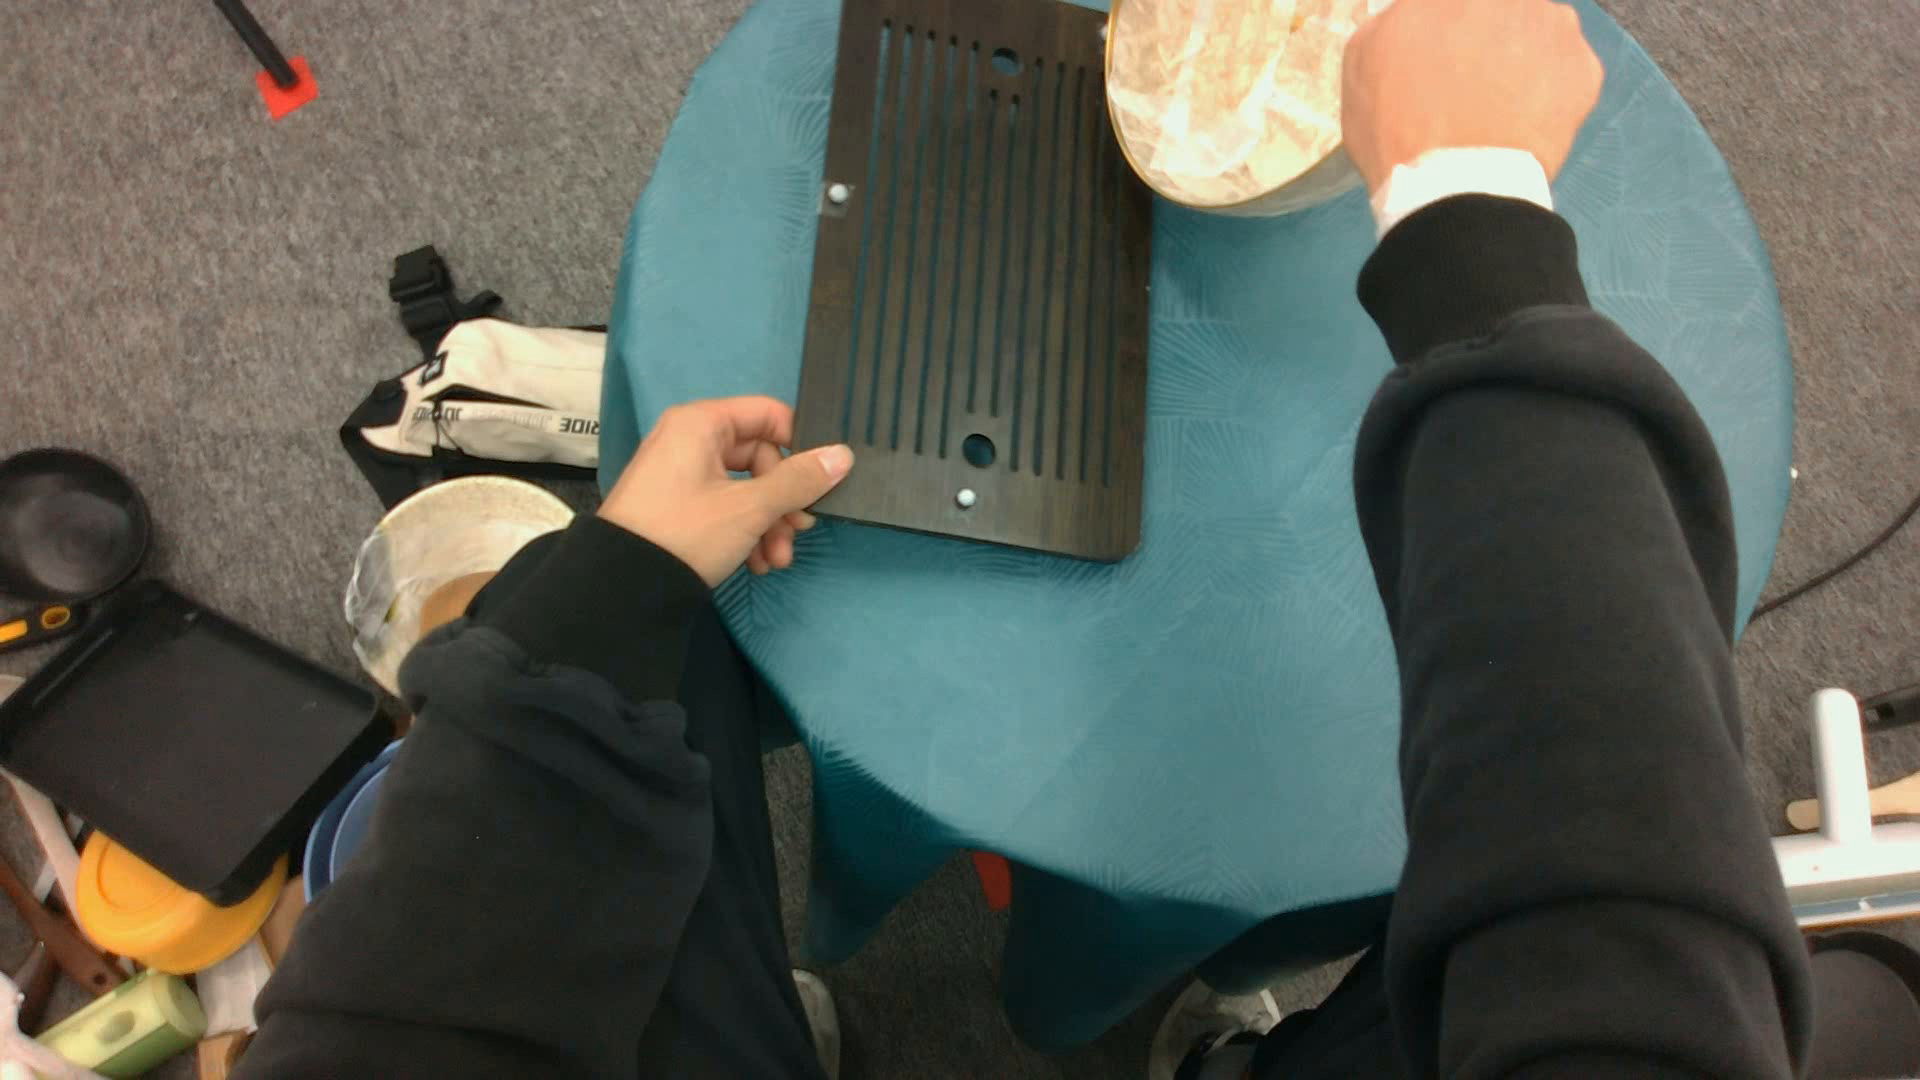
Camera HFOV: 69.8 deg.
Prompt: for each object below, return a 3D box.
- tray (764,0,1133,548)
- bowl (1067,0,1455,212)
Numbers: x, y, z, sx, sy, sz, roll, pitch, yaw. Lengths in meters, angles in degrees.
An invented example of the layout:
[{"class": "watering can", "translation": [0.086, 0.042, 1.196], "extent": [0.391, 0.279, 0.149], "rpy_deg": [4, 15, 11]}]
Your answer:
[{"class": "tray", "translation": [0.003, -0.151, 0.680], "extent": [0.170, 0.018, 0.307], "rpy_deg": [10, 71, -15]}, {"class": "bowl", "translation": [0.154, -0.252, 0.650], "extent": [0.095, 0.213, 0.215], "rpy_deg": [5, 67, -39]}]
